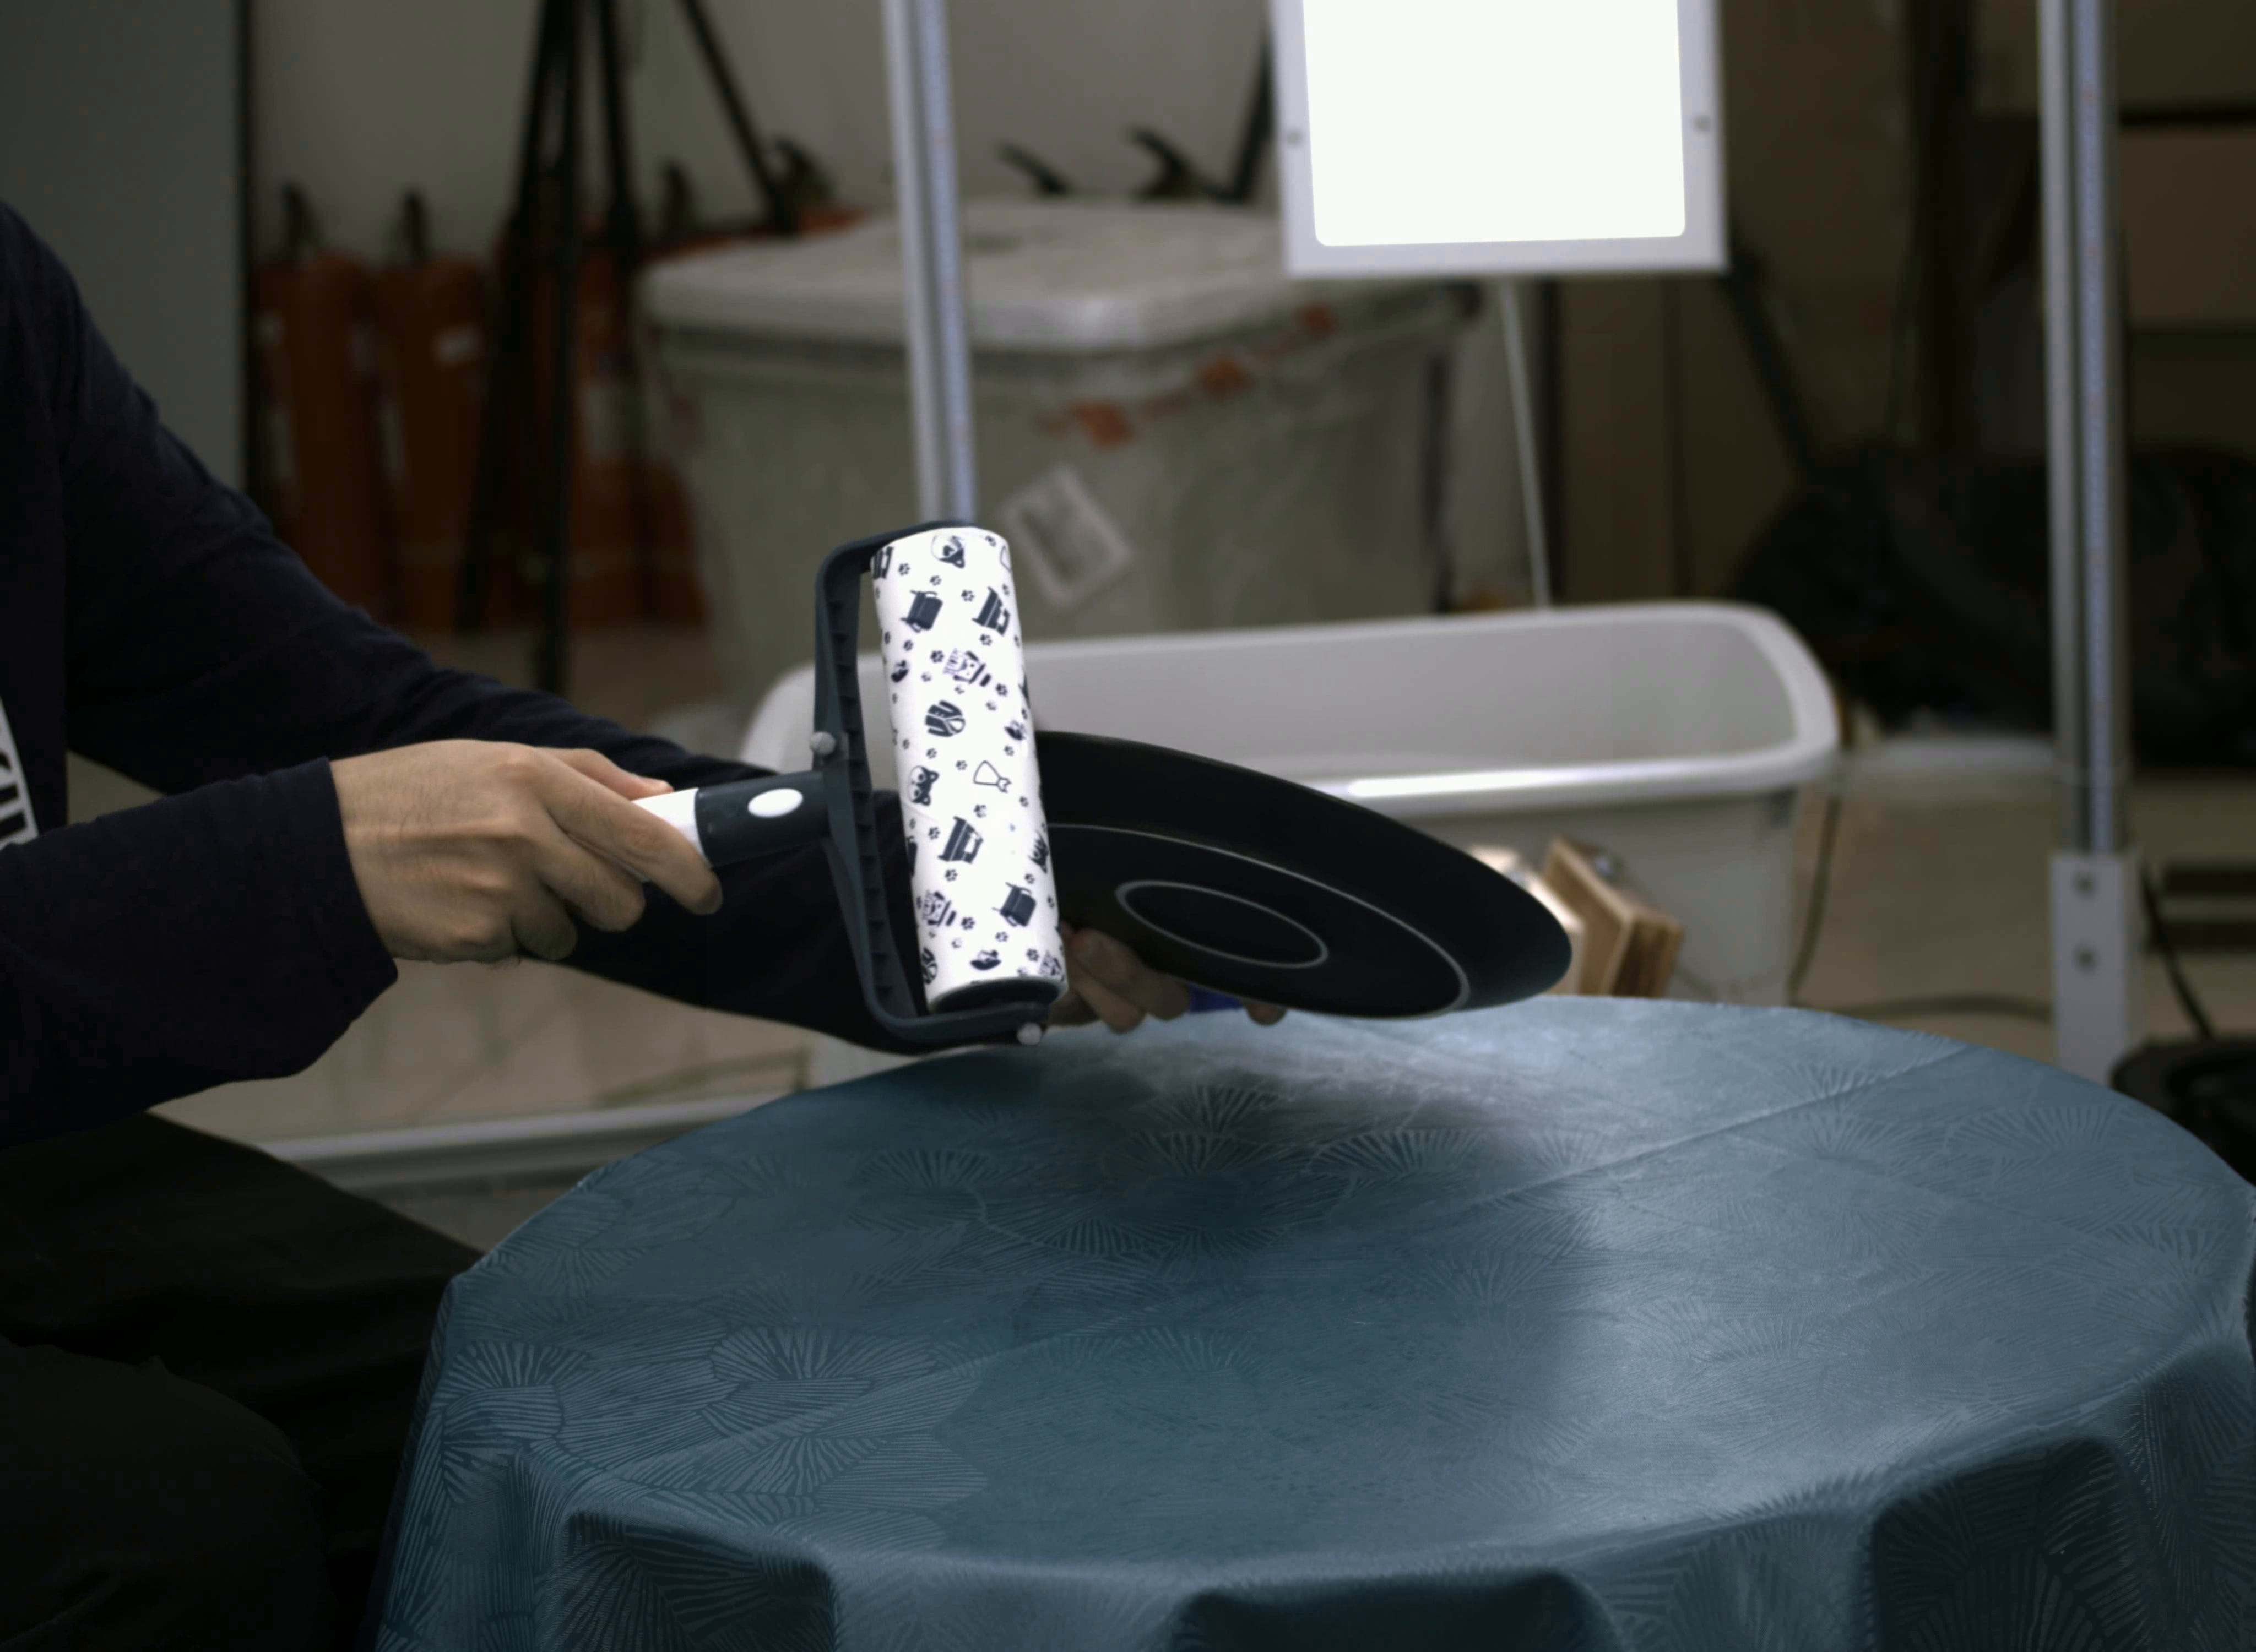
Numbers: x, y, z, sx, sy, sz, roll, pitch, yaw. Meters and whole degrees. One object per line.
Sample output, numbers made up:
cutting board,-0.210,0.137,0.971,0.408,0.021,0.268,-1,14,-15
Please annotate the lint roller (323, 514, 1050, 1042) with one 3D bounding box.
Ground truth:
lint roller,-0.154,0.000,1.858,0.248,0.176,0.050,-10,-17,9

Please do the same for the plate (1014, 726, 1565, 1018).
plate,0.034,0.024,1.936,0.244,0.023,0.245,17,-16,3
